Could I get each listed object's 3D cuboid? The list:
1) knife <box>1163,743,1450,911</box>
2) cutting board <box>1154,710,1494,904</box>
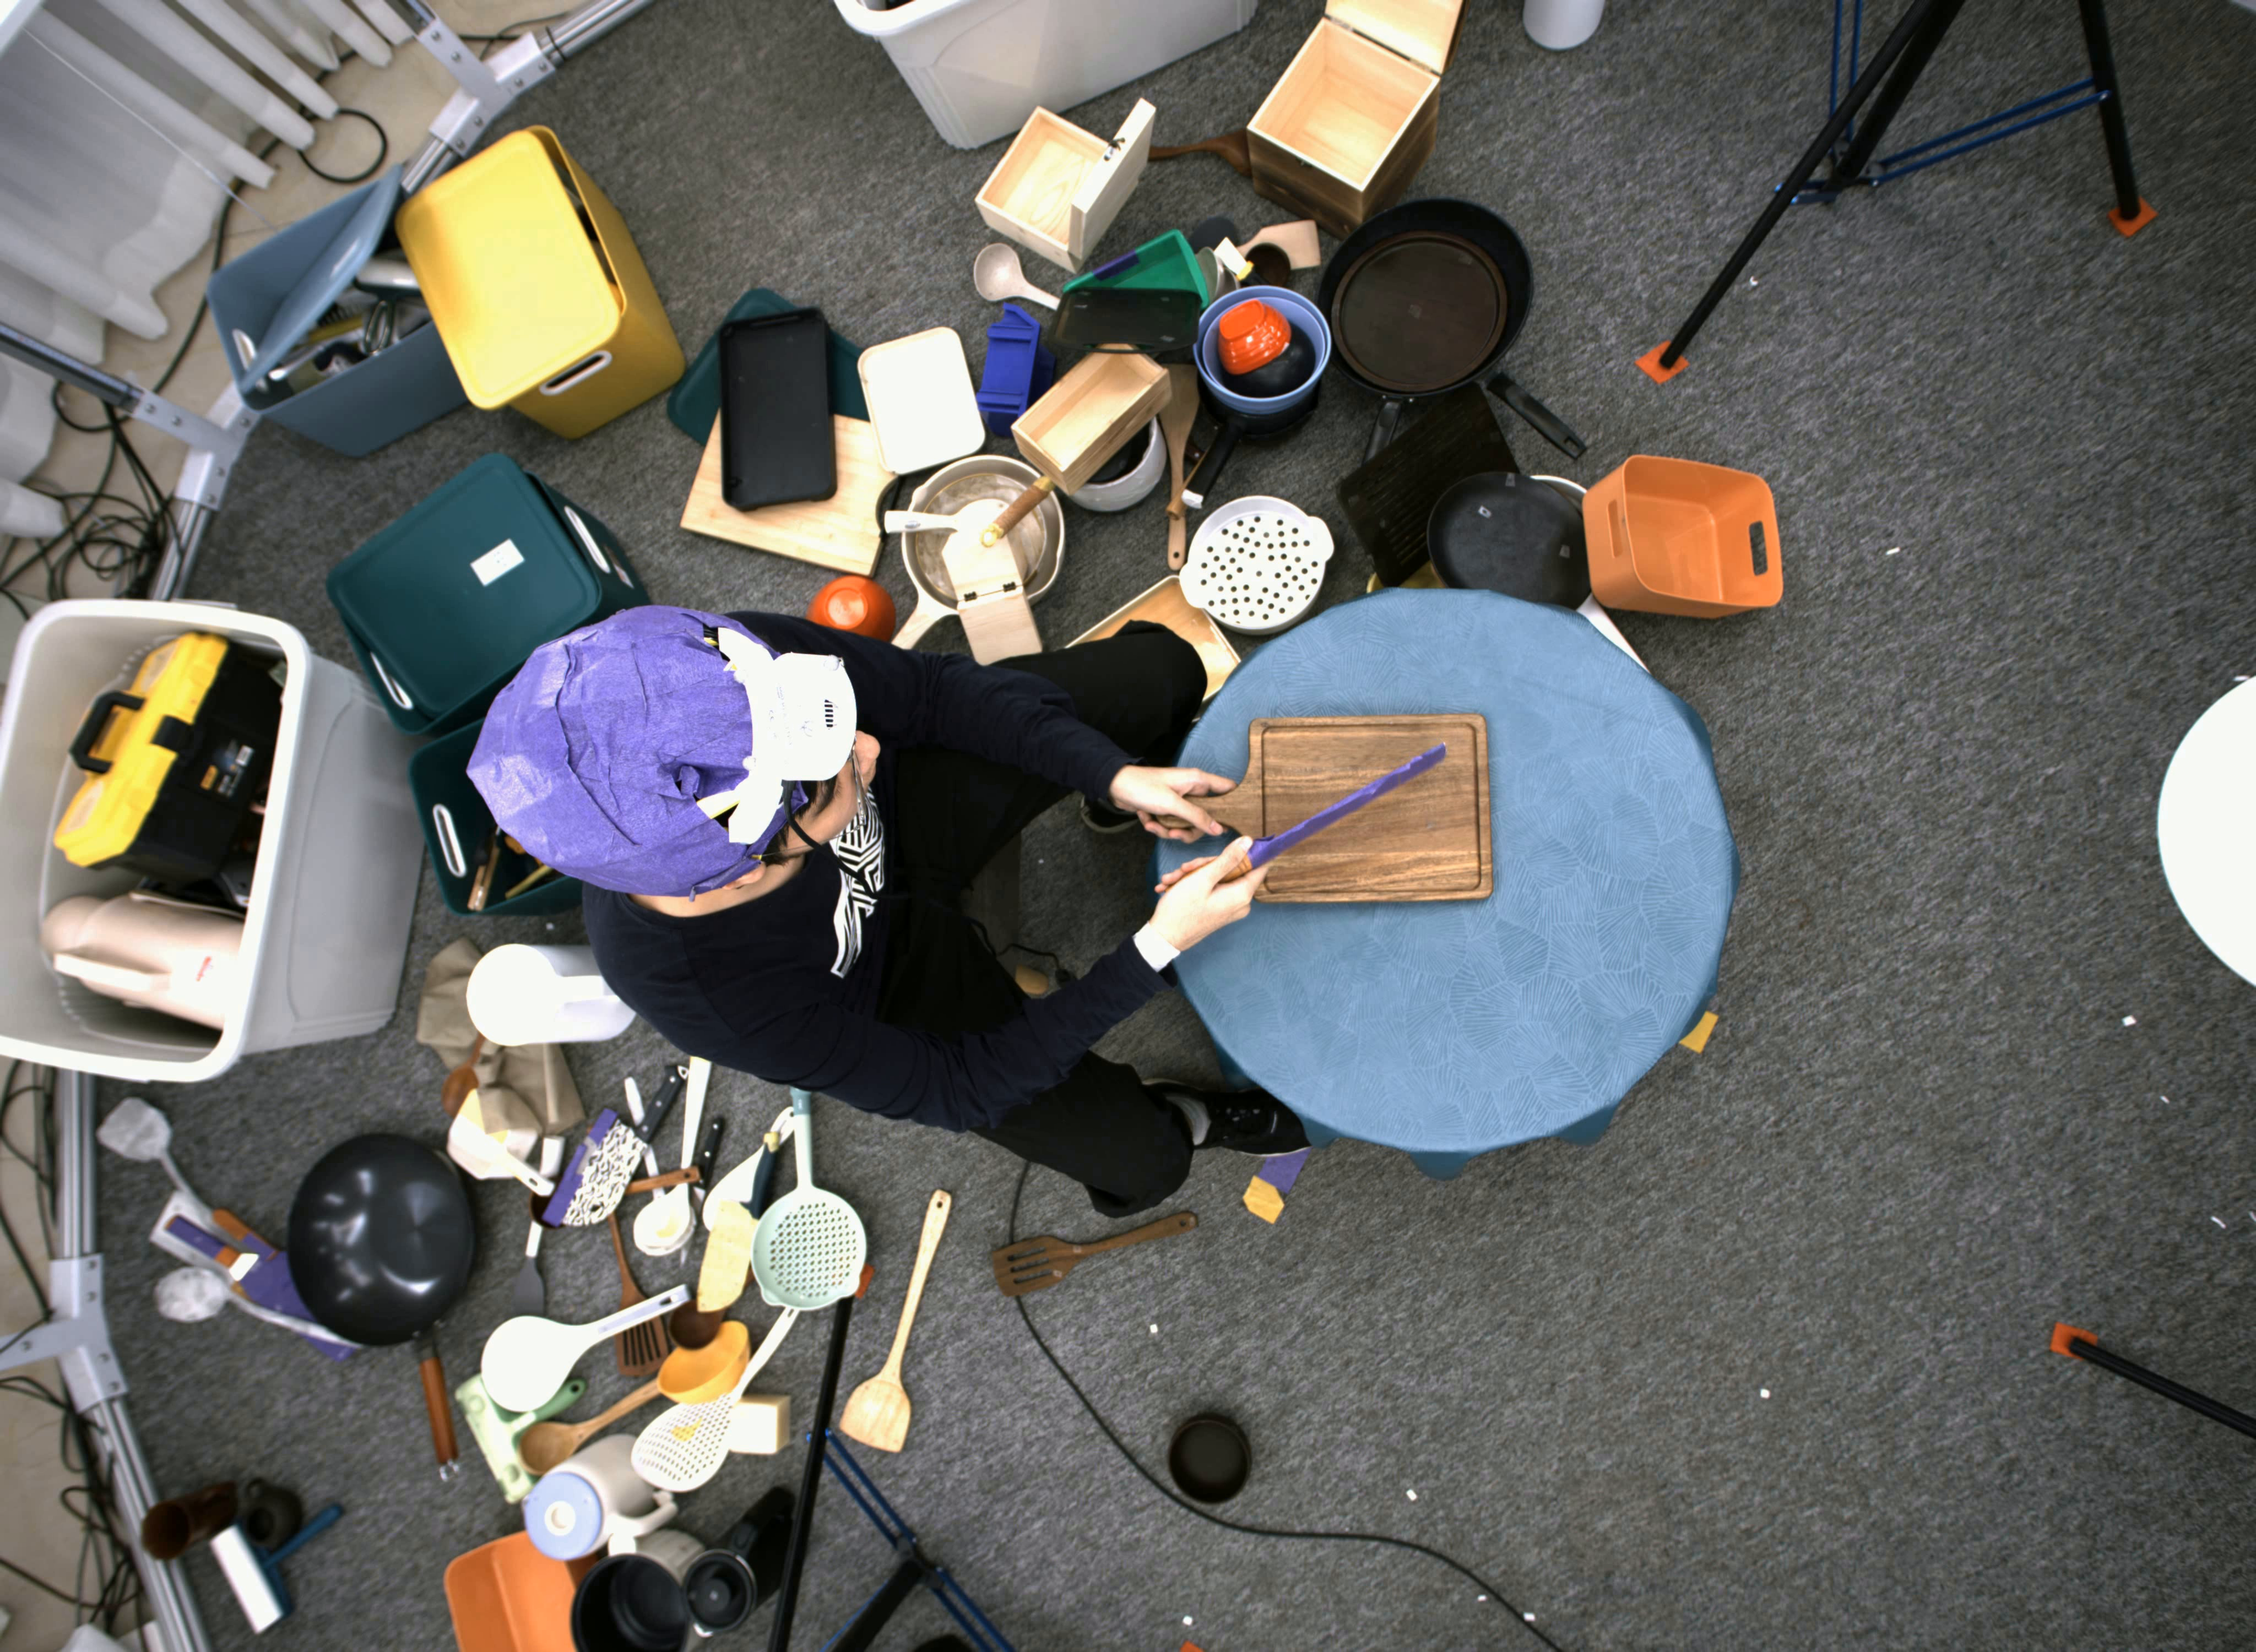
[{"bbox_3d":[0.183,0.002,1.387,0.317,0.104,0.032,-28,79,7],"label":"knife"},{"bbox_3d":[0.203,-0.020,1.450,0.353,0.023,0.200,-1,87,5],"label":"cutting board"}]
